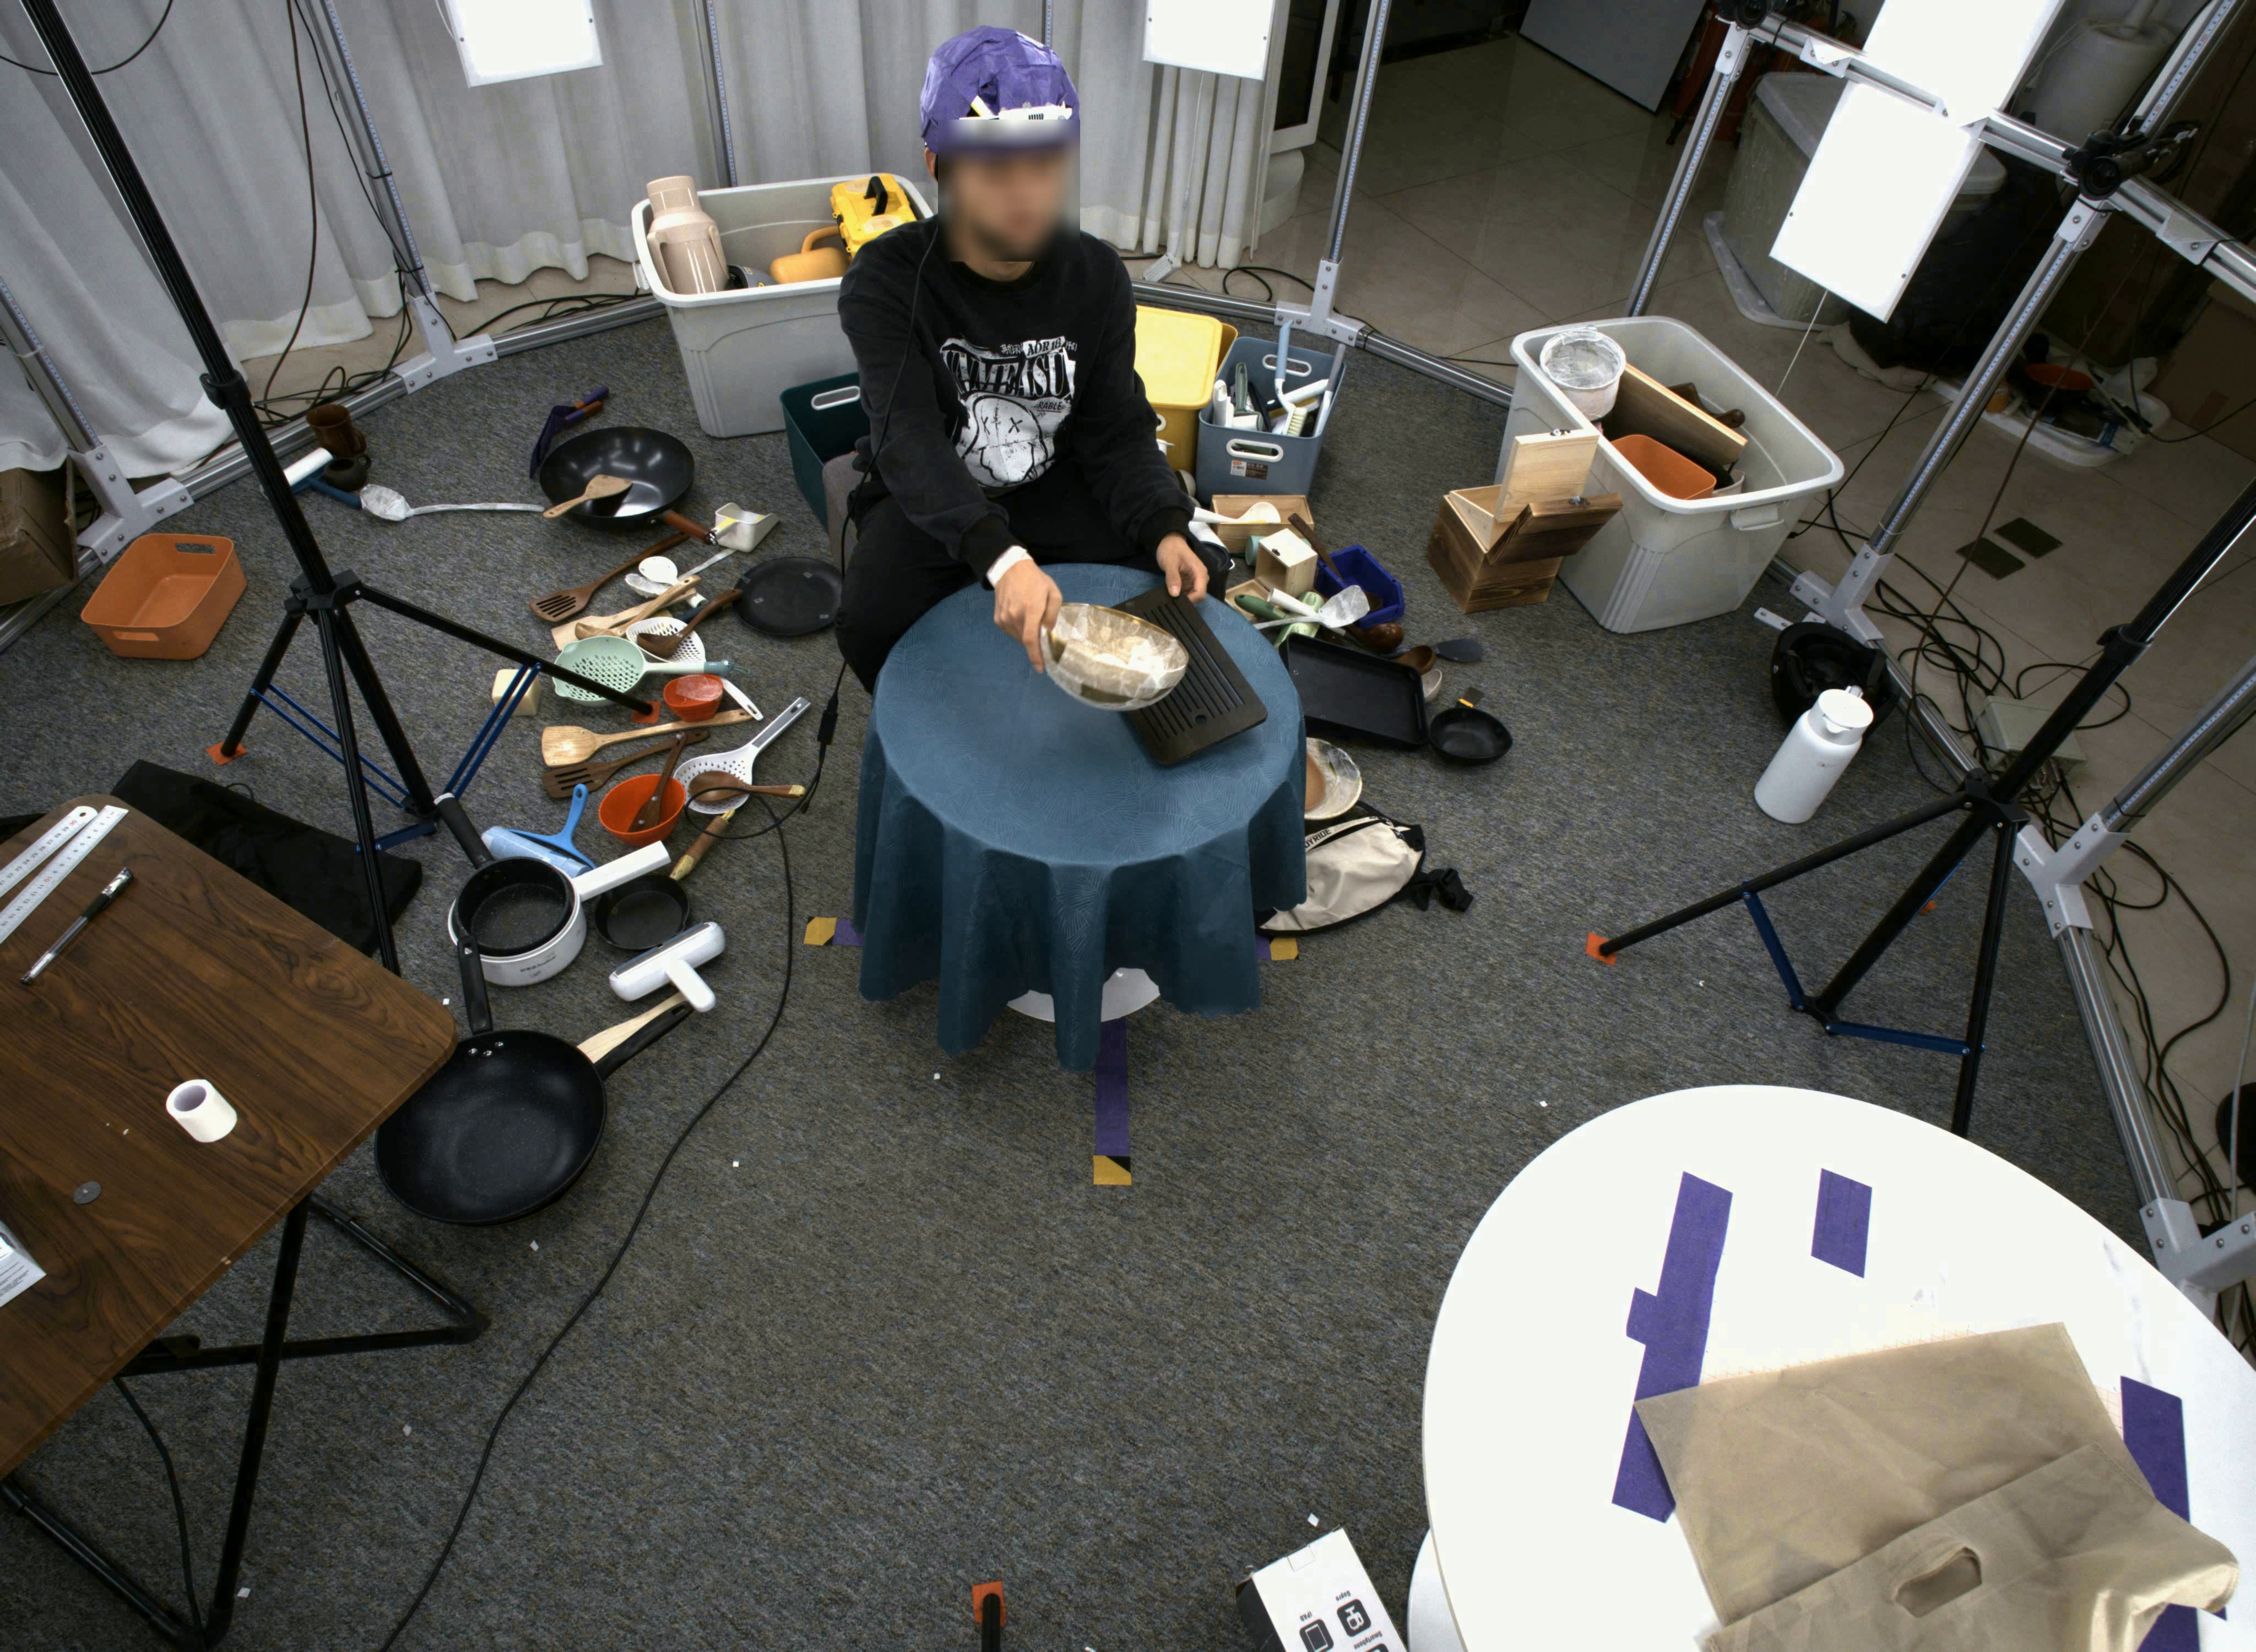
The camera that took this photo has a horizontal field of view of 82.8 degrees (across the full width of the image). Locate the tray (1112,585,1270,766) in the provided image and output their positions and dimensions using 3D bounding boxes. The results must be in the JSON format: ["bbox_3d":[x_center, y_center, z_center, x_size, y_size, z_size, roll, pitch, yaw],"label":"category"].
[{"bbox_3d":[0.062,-0.220,1.847,0.170,0.018,0.313,-24,53,-7],"label":"tray"}]

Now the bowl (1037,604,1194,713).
[{"bbox_3d":[-0.028,-0.209,1.693,0.214,0.093,0.219,13,29,-7],"label":"bowl"}]
